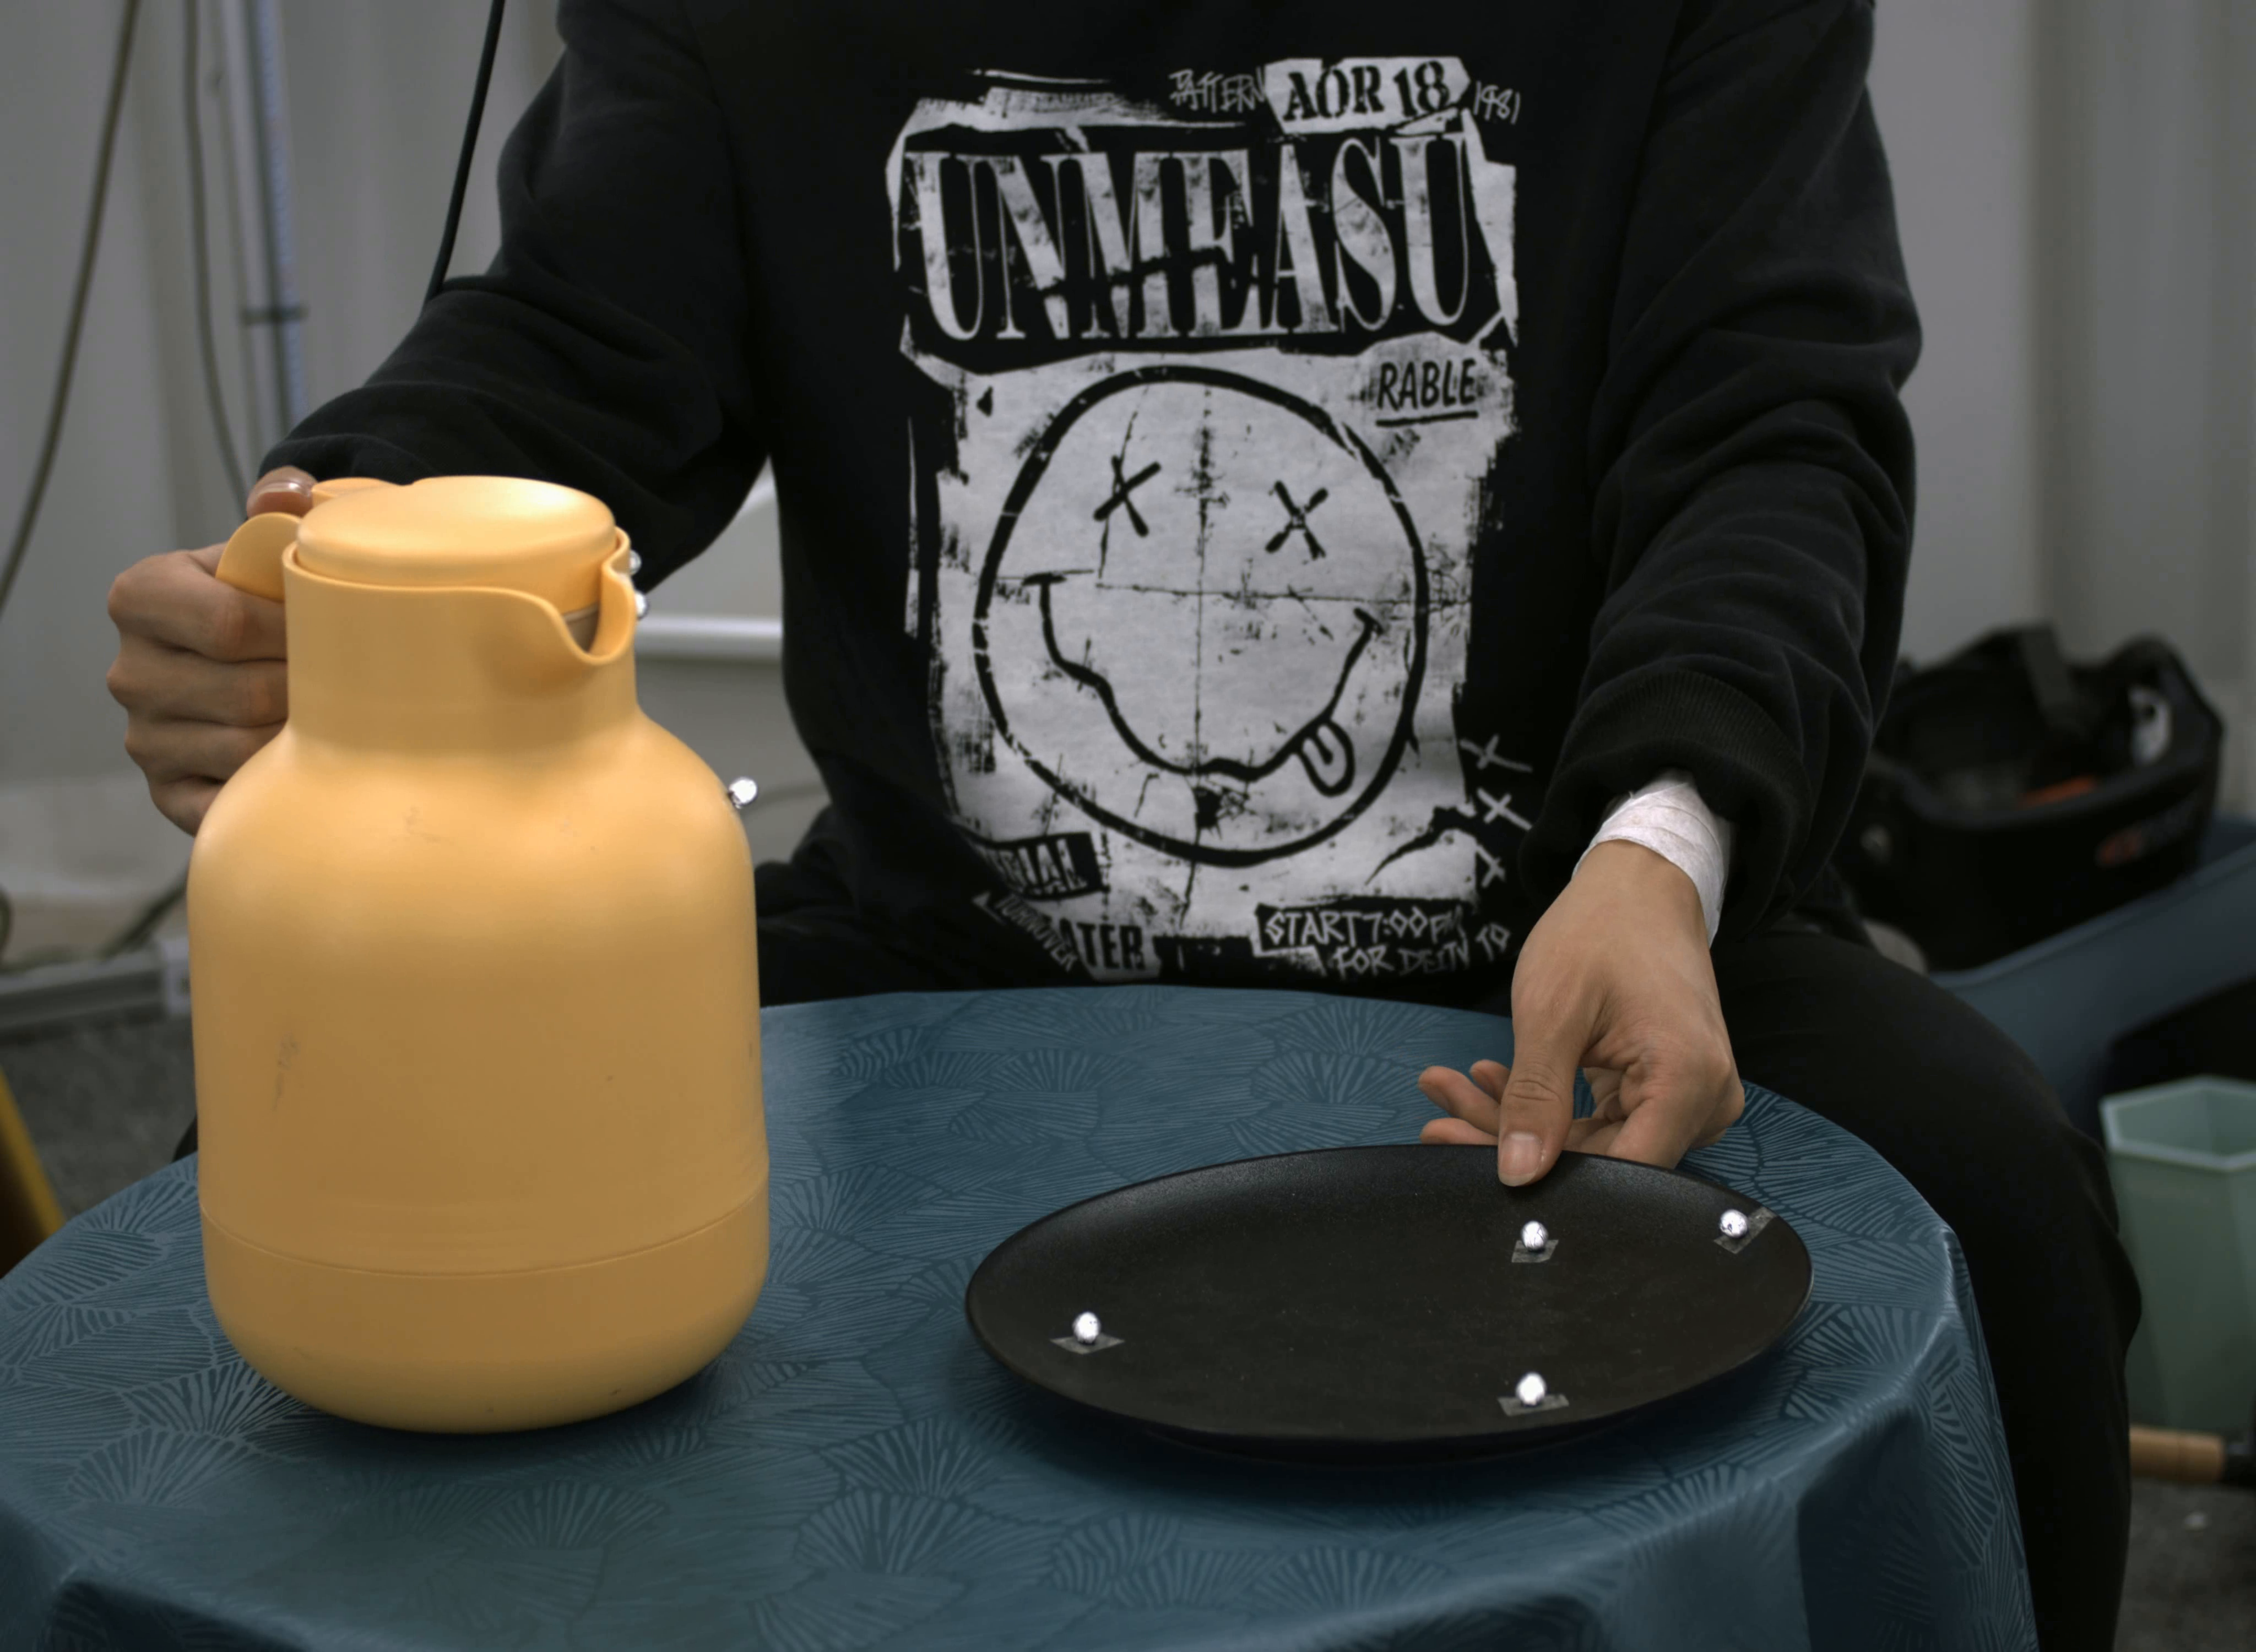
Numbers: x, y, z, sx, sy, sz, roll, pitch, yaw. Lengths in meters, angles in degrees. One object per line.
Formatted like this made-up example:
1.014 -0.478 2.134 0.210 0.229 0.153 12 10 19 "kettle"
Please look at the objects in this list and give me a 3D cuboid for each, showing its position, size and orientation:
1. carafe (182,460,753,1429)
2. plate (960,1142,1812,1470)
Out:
-0.197 0.025 1.569 0.163 0.259 0.204 -8 19 -35 "carafe"
0.074 0.140 1.560 0.243 0.023 0.246 -3 15 0 "plate"
